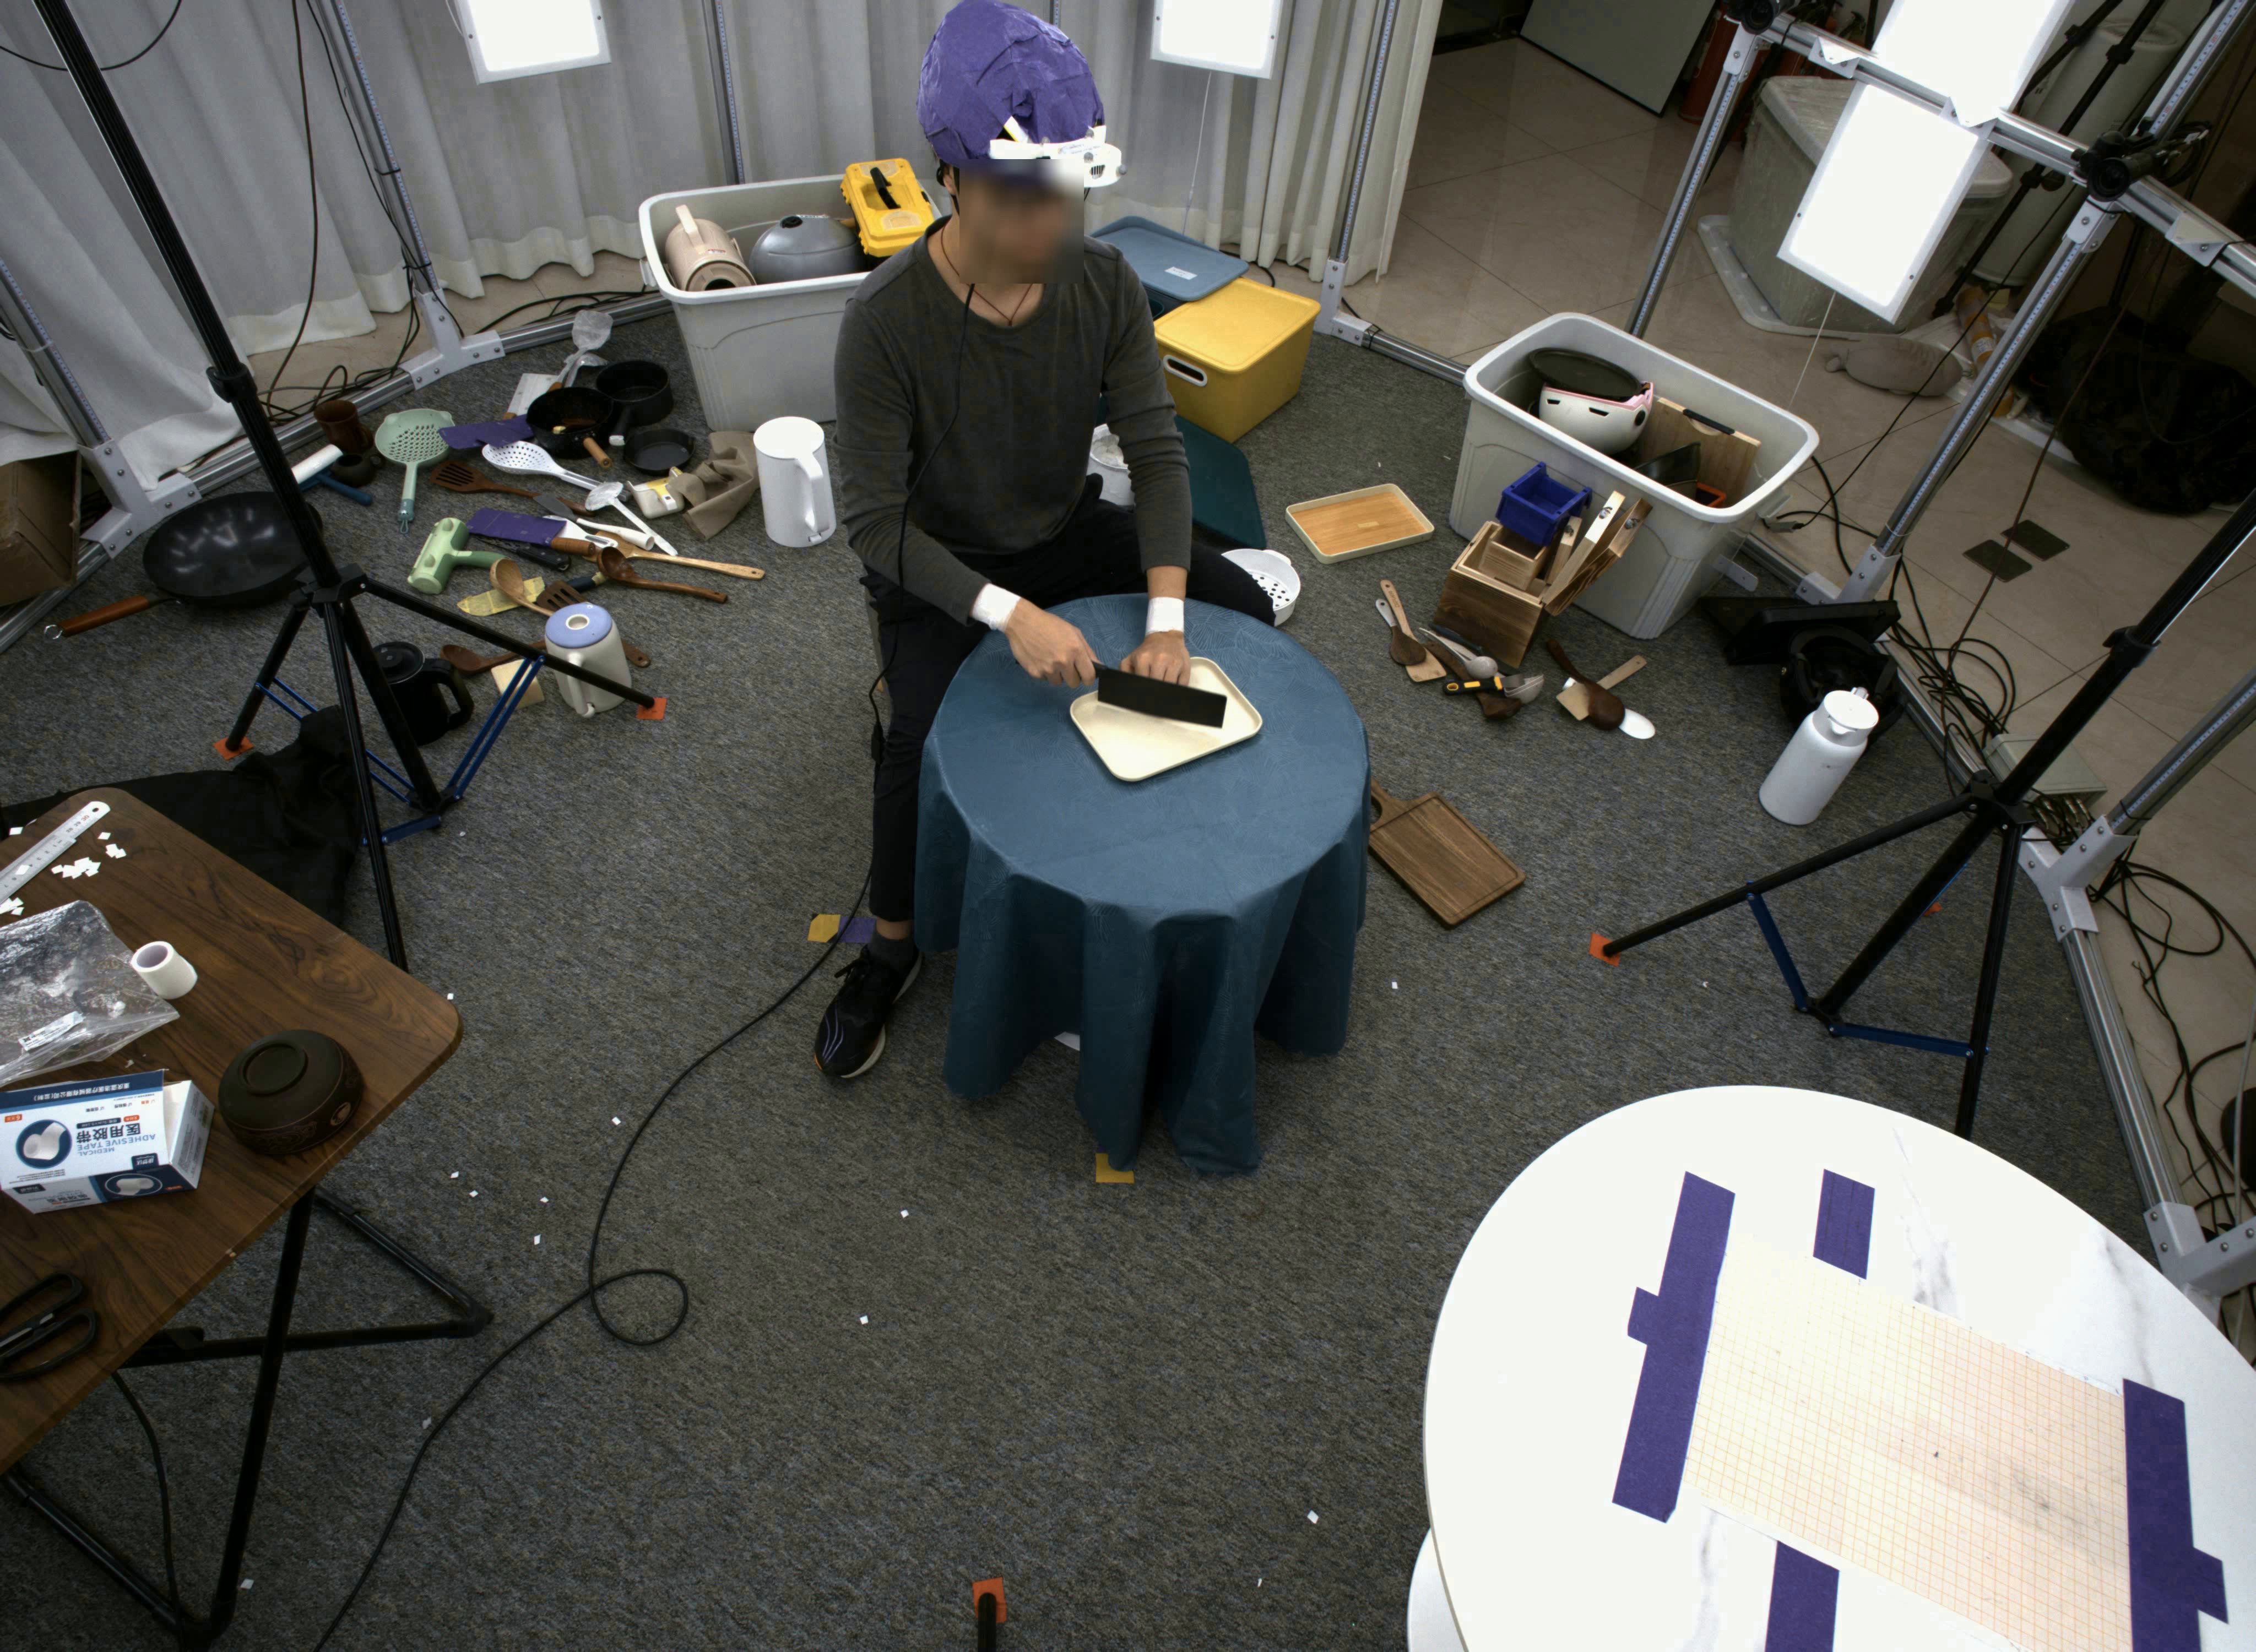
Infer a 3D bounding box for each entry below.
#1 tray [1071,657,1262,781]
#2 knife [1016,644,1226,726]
[{"bbox_3d":[0.054,-0.150,1.790,0.240,0.017,0.175,-22,53,-21],"label":"tray"},{"bbox_3d":[-0.010,-0.196,1.774,0.303,0.079,0.021,17,47,7],"label":"knife"}]
